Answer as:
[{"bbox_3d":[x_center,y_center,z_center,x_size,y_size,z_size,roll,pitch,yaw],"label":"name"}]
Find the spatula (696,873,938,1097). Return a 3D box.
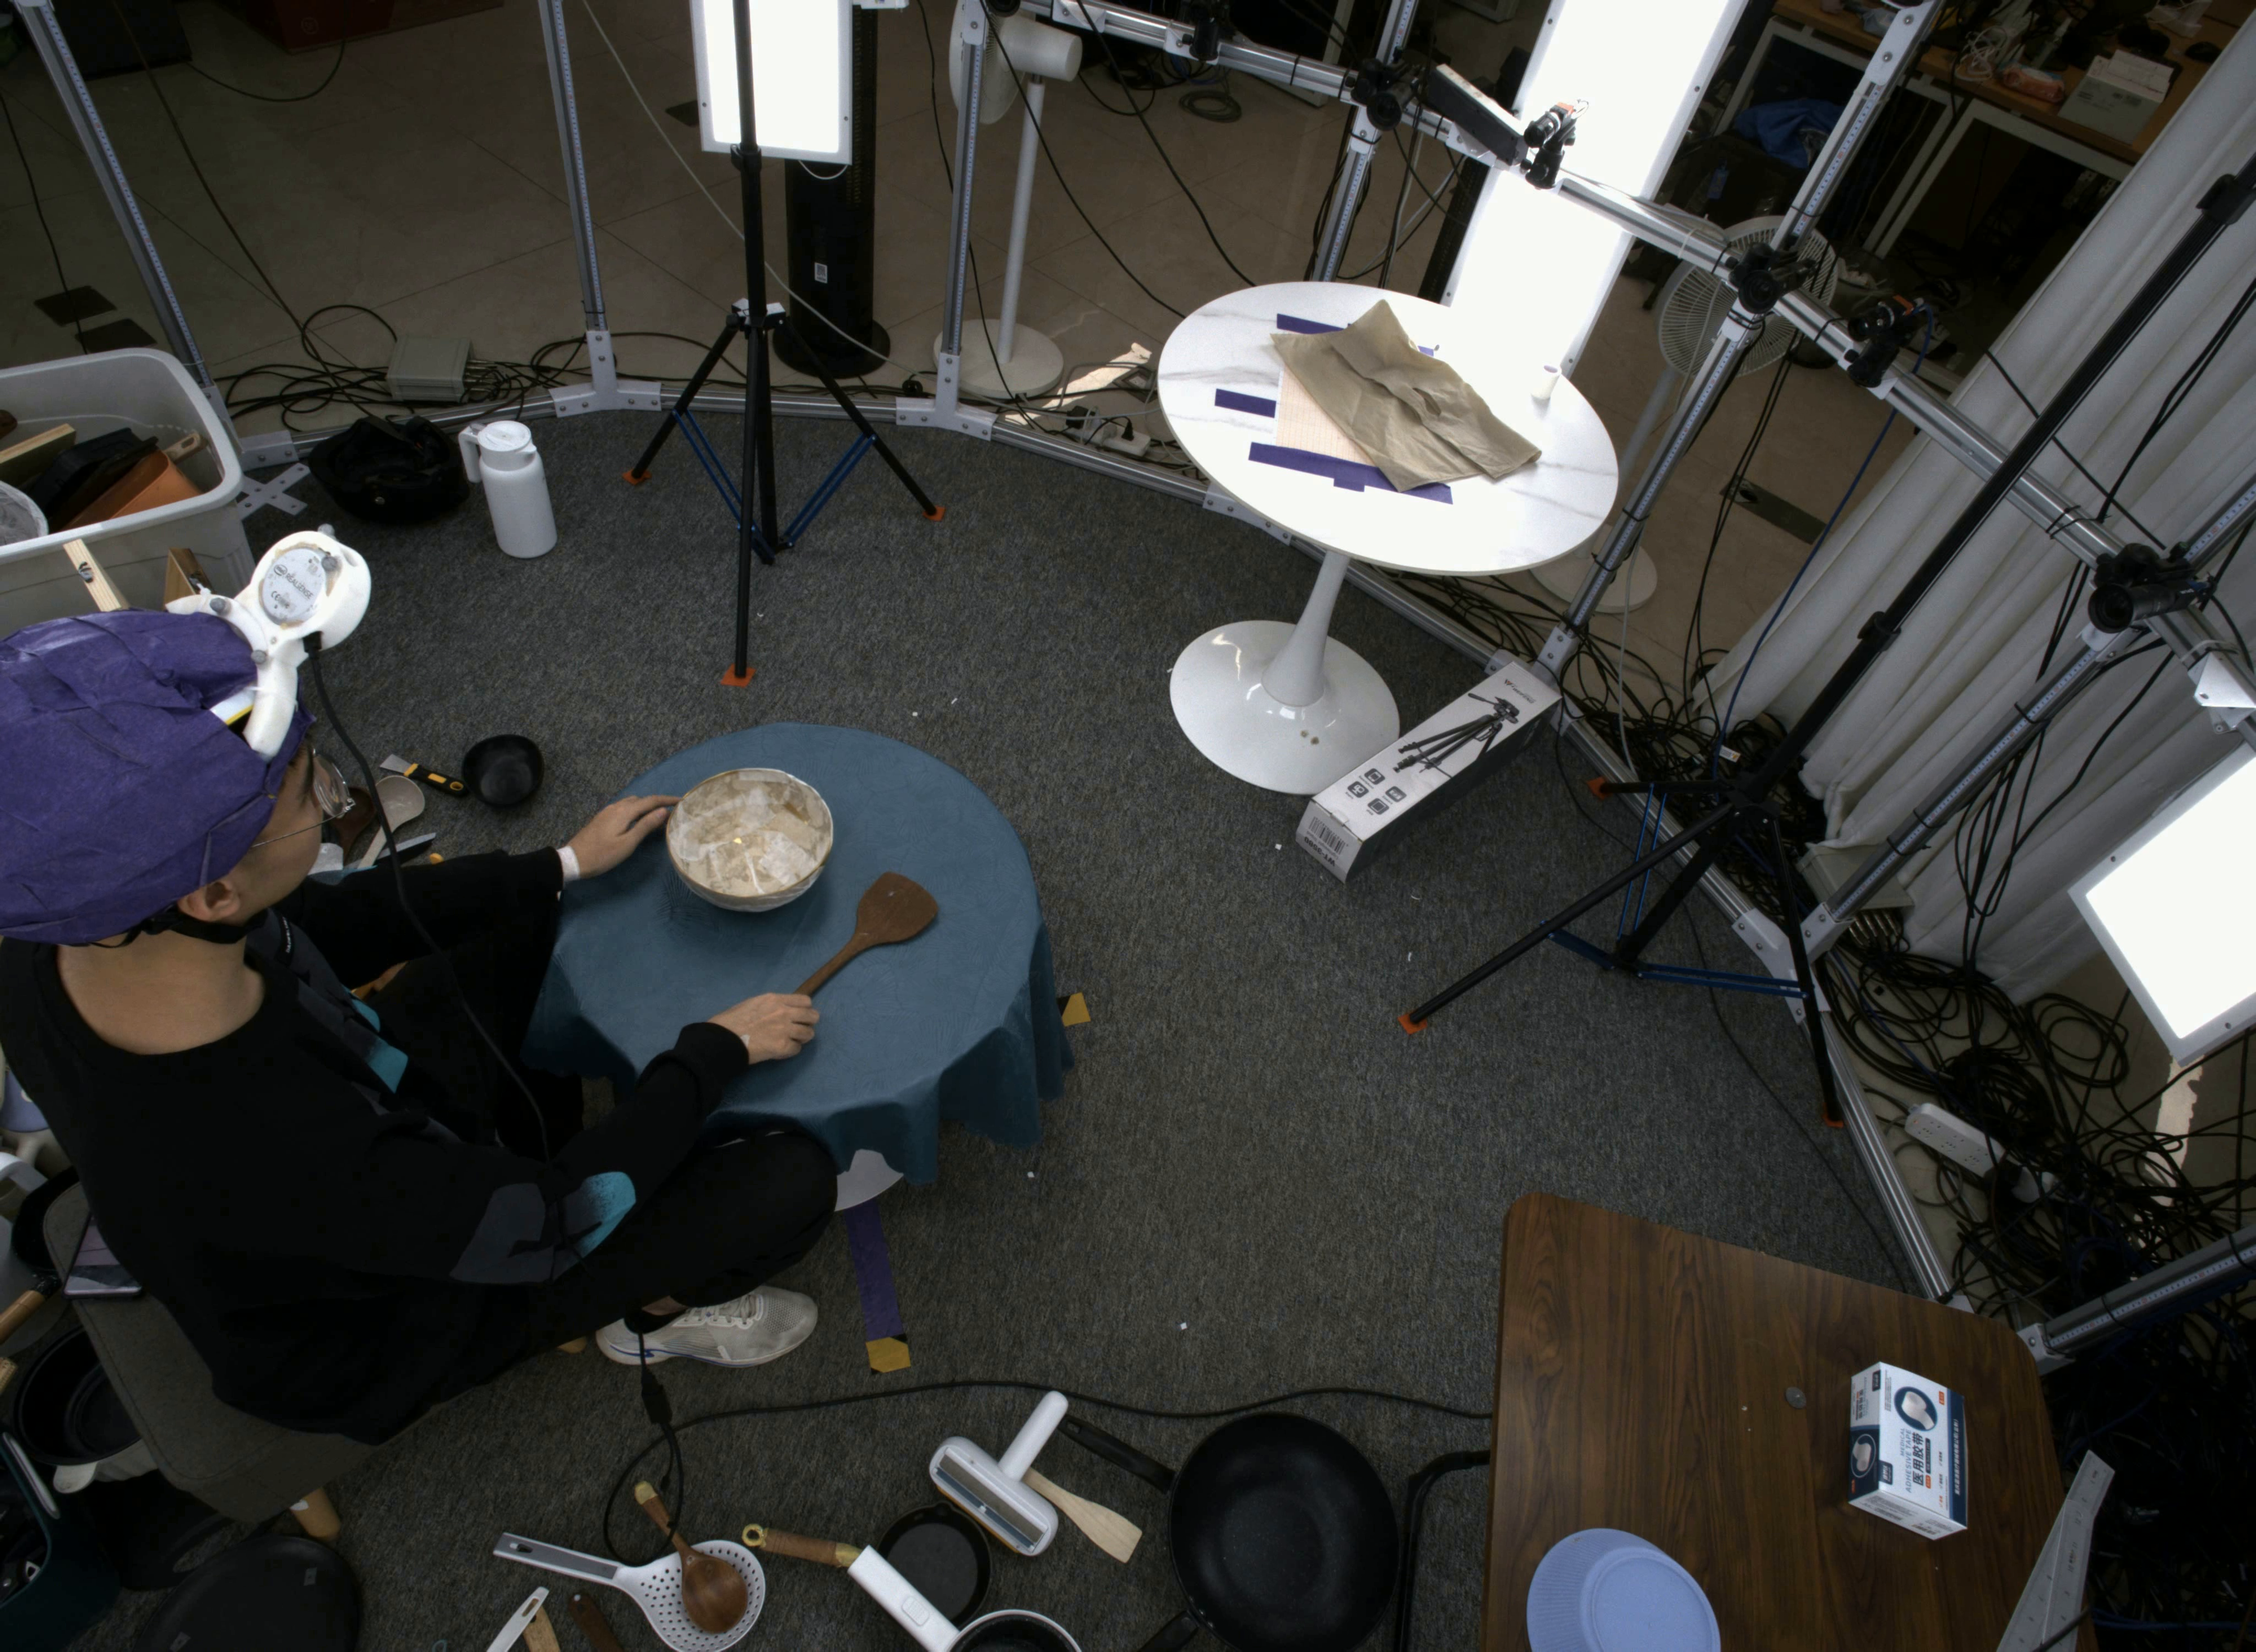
[{"bbox_3d":[-0.383,0.190,1.589,0.094,0.016,0.385,35,54,13],"label":"spatula"}]

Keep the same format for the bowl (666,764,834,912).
[{"bbox_3d":[-0.477,0.030,1.634,0.214,0.096,0.211,7,54,-9],"label":"bowl"}]
